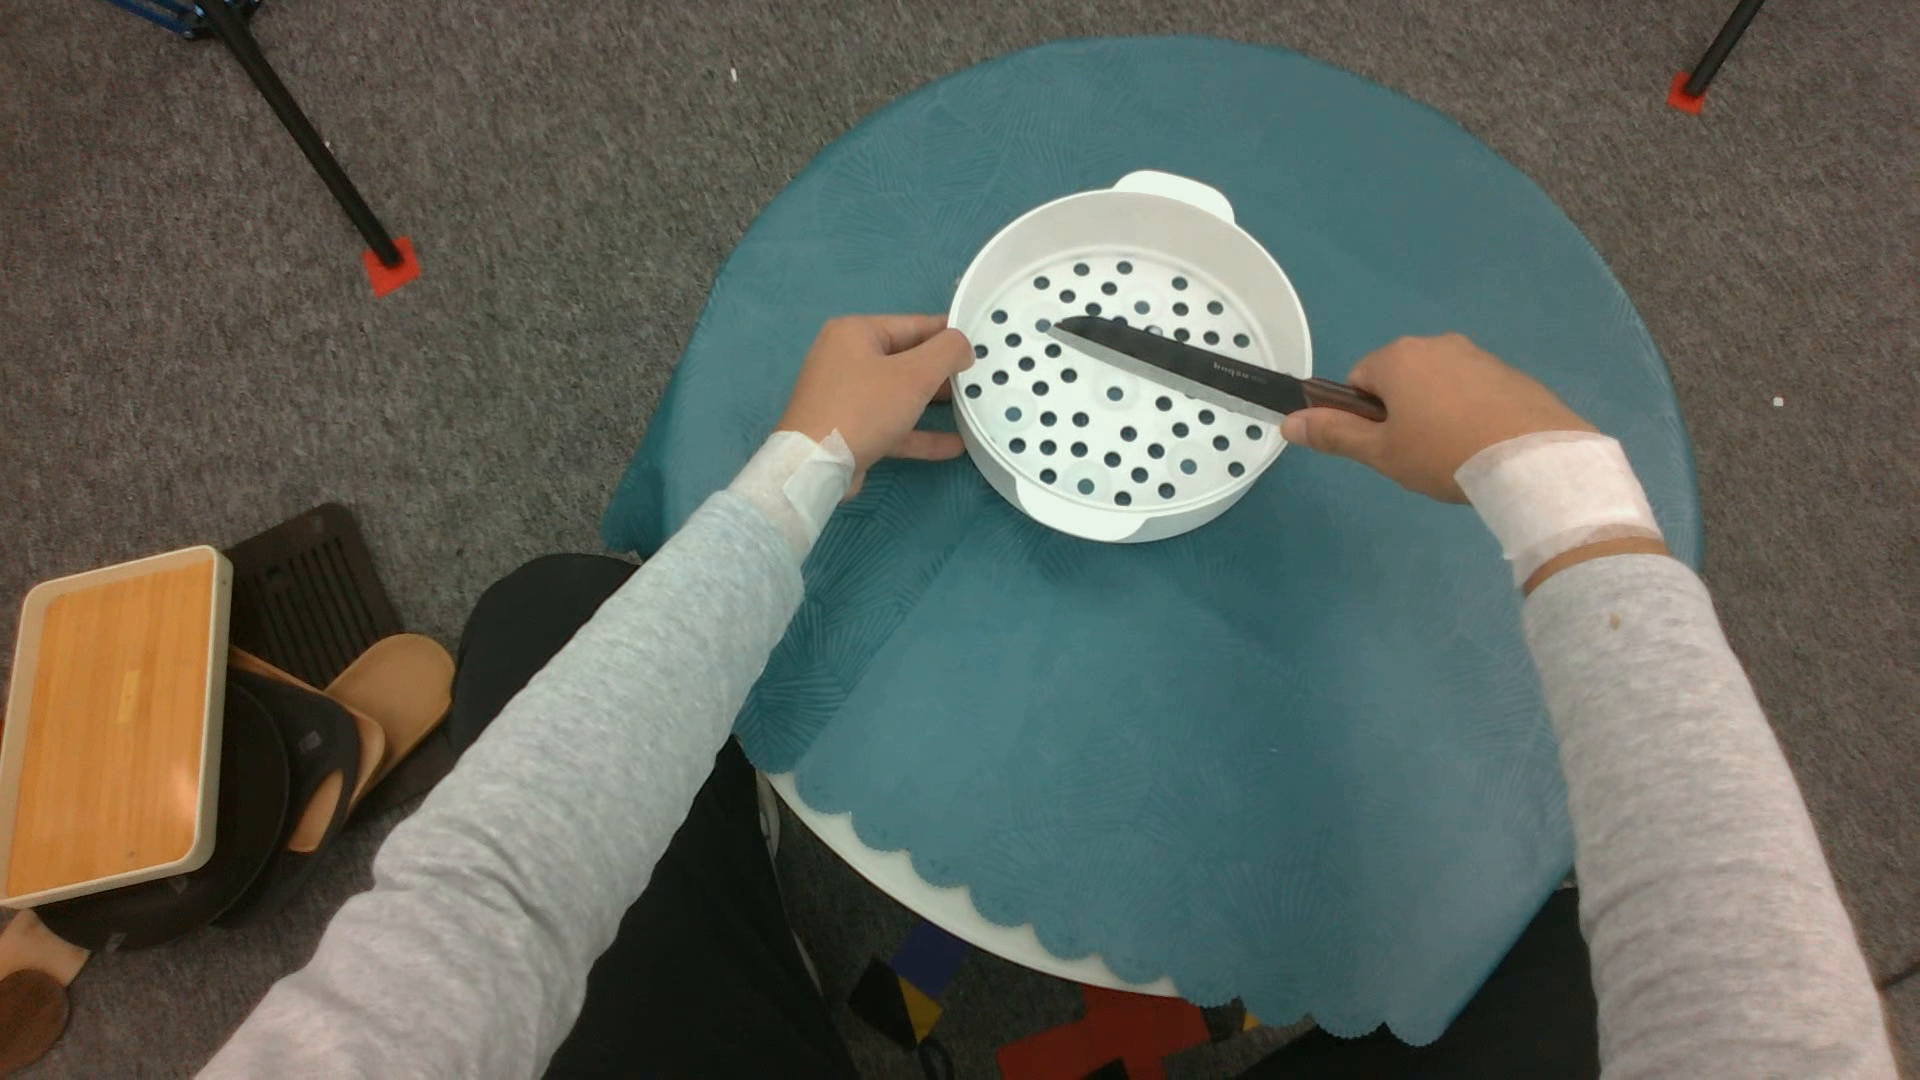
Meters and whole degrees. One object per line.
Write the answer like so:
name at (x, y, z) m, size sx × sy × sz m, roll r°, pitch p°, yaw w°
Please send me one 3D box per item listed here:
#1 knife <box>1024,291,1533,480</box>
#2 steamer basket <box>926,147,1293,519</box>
knife at (0.151, -0.085, 0.718) m, size 0.289 × 0.050 × 0.020 m, roll 22°, pitch 62°, yaw 30°
steamer basket at (0.082, -0.110, 0.781) m, size 0.202 × 0.069 × 0.231 m, roll 17°, pitch 71°, yaw 4°
